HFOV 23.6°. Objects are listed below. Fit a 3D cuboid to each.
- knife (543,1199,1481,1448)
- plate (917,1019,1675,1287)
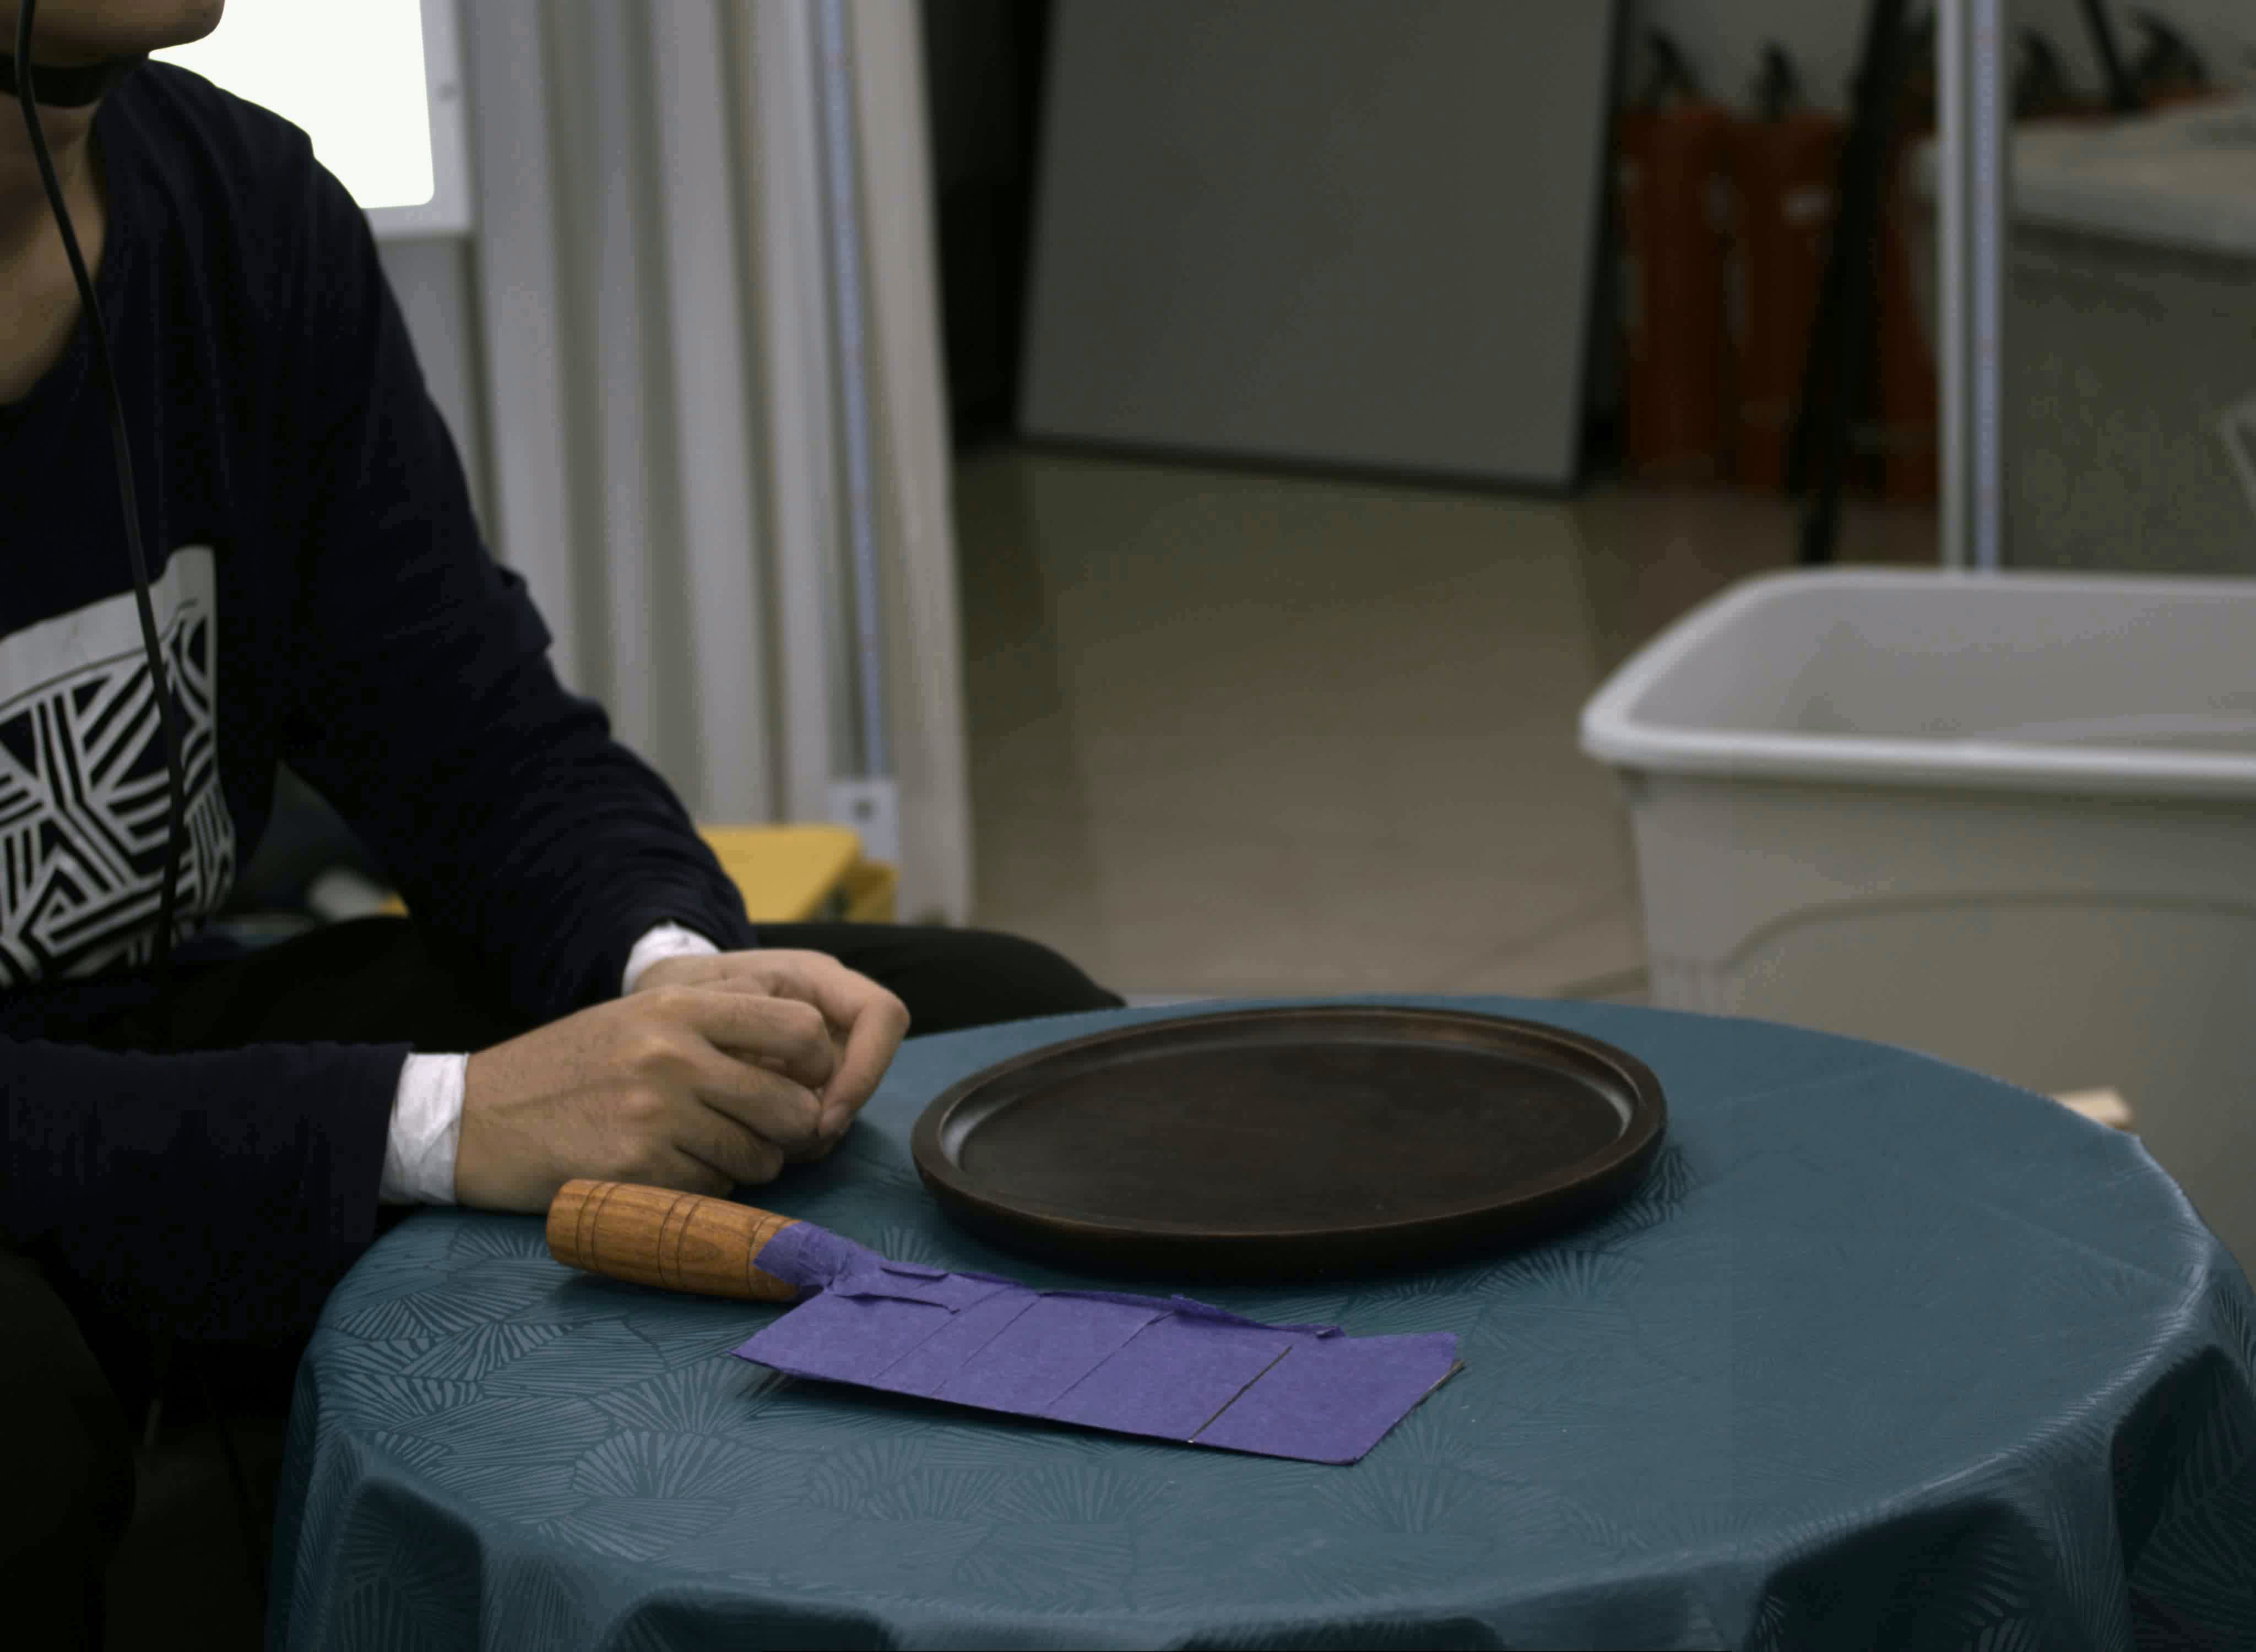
[{"bbox_3d":[-0.053,0.149,1.620,0.316,0.032,0.102,3,15,28],"label":"knife"},{"bbox_3d":[0.055,0.105,1.776,0.251,0.029,0.255,-3,13,0],"label":"plate"}]
